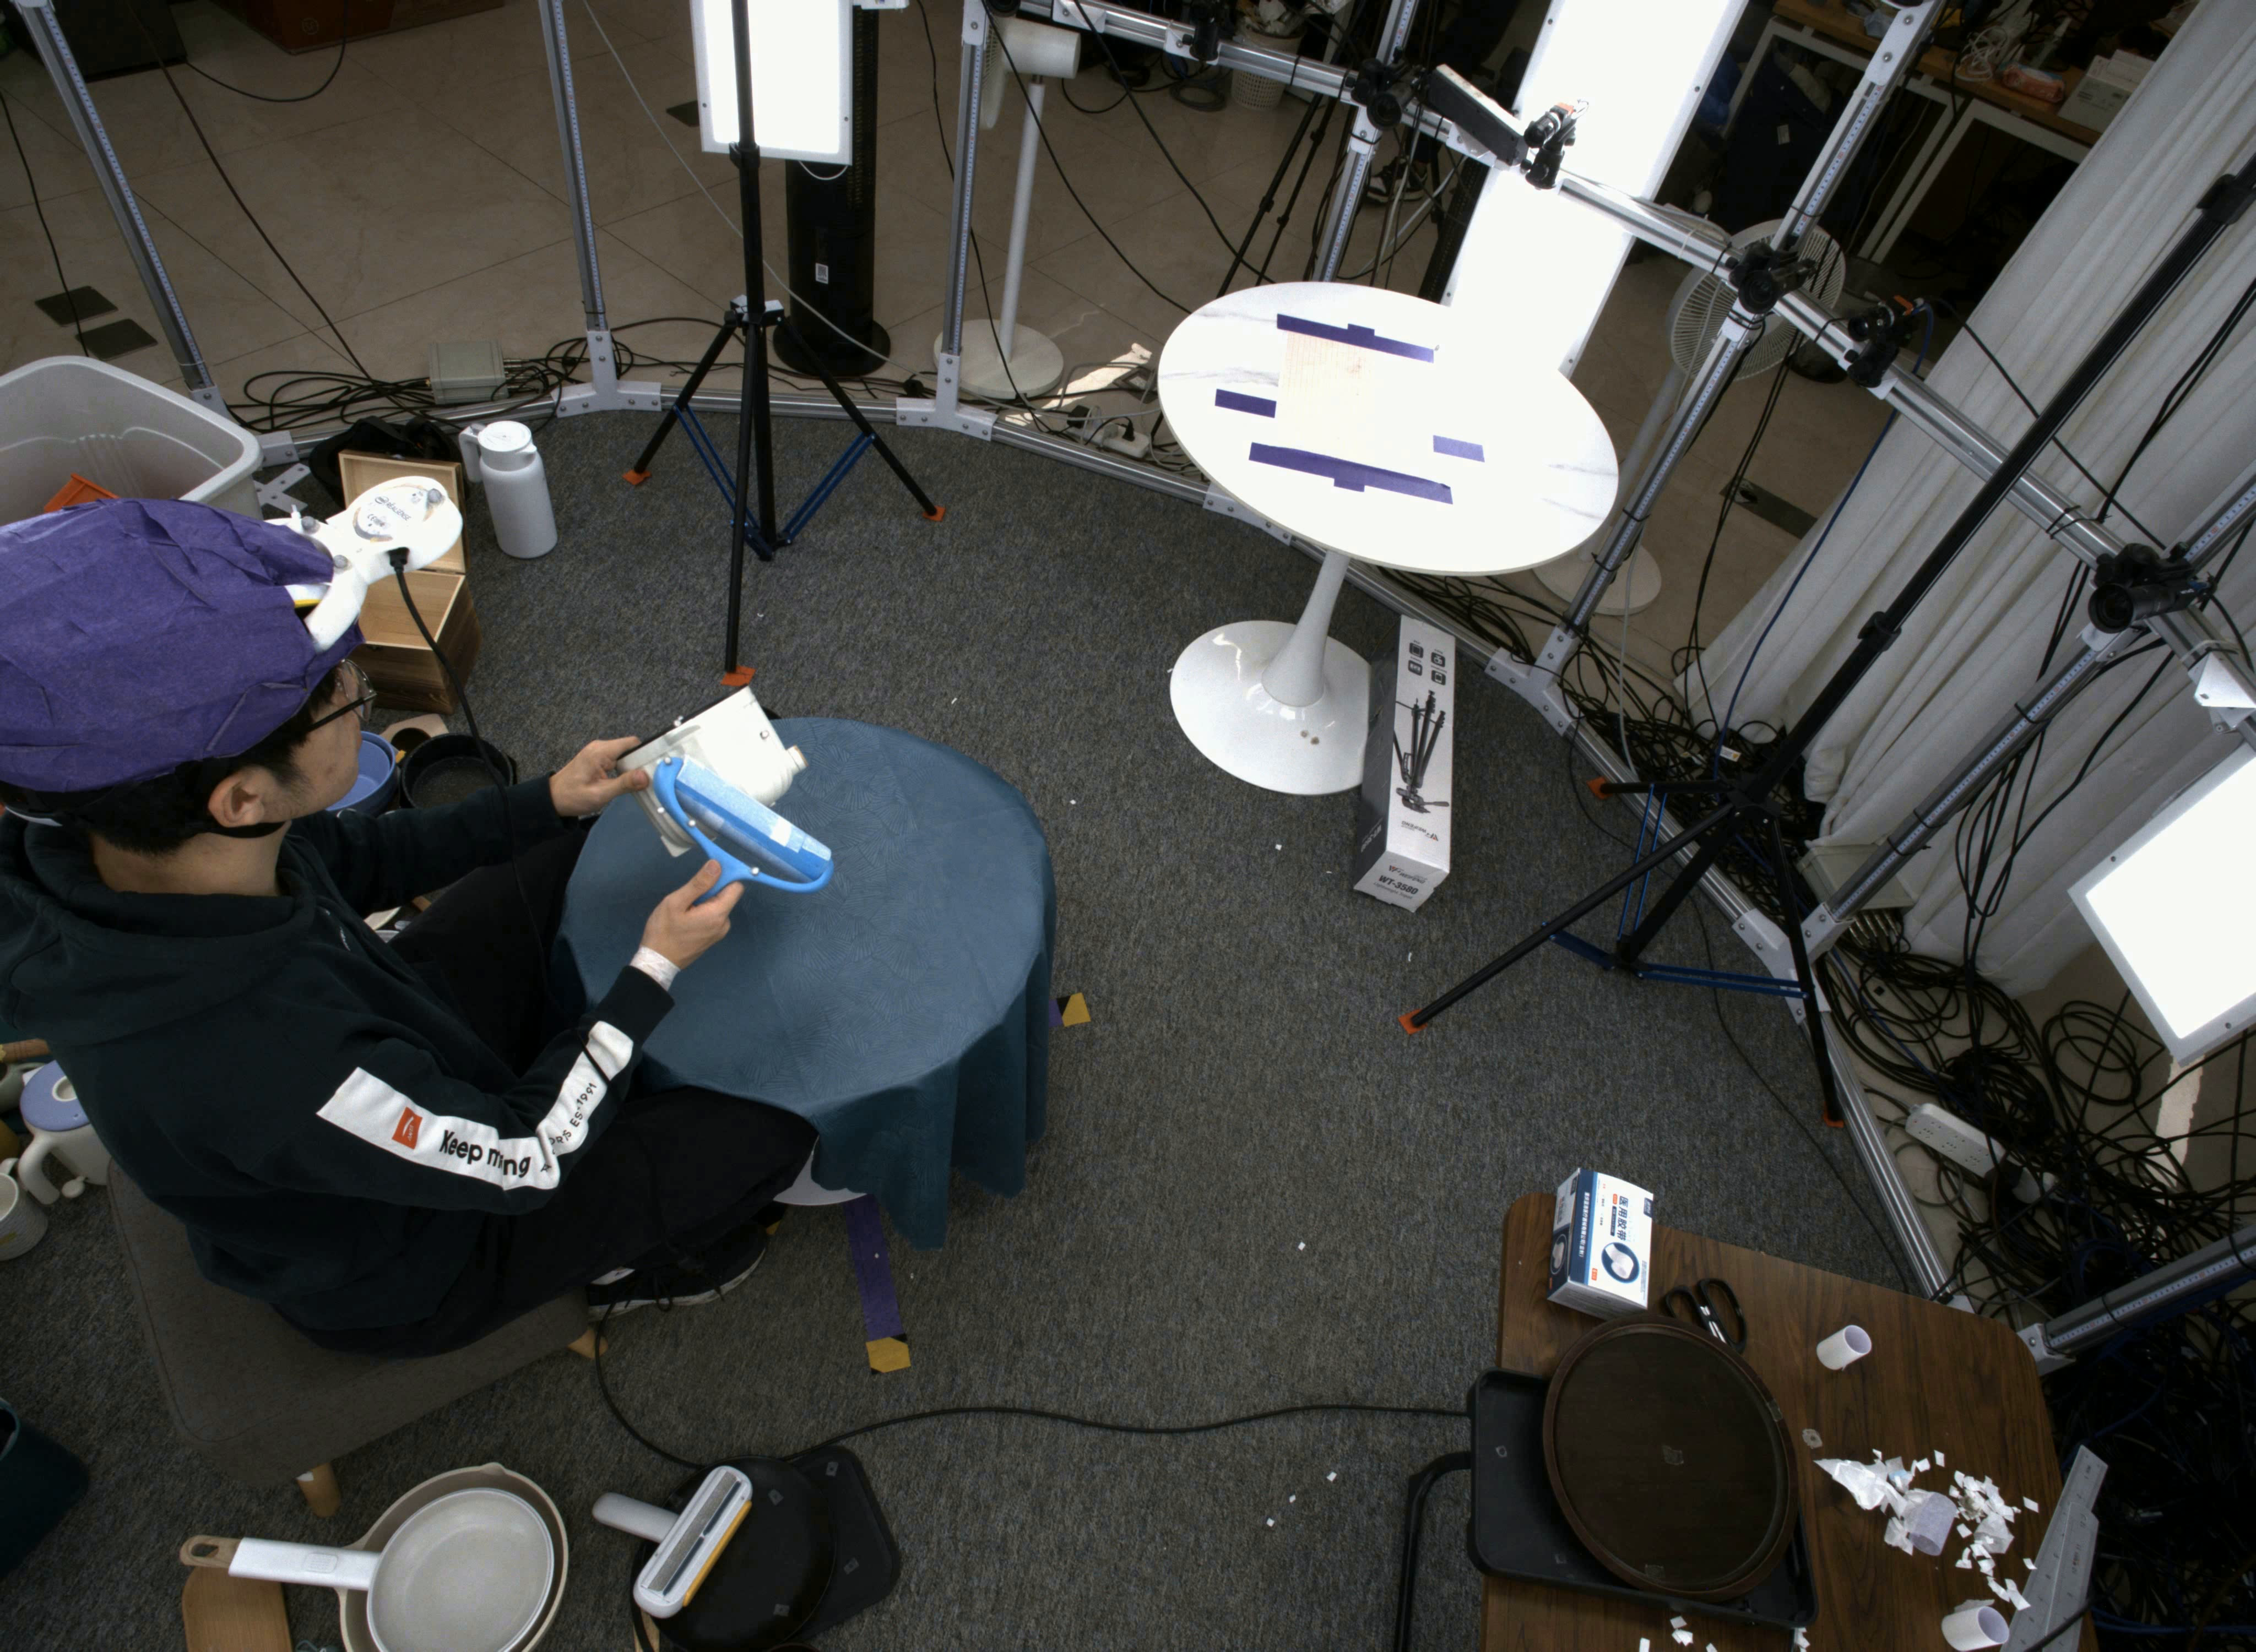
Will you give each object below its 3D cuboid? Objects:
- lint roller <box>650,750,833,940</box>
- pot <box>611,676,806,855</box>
[{"bbox_3d":[-0.448,0.043,1.413,0.236,0.066,0.180,35,72,-31],"label":"lint roller"},{"bbox_3d":[-0.489,-0.074,1.513,0.190,0.234,0.146,-36,107,-13],"label":"pot"}]
